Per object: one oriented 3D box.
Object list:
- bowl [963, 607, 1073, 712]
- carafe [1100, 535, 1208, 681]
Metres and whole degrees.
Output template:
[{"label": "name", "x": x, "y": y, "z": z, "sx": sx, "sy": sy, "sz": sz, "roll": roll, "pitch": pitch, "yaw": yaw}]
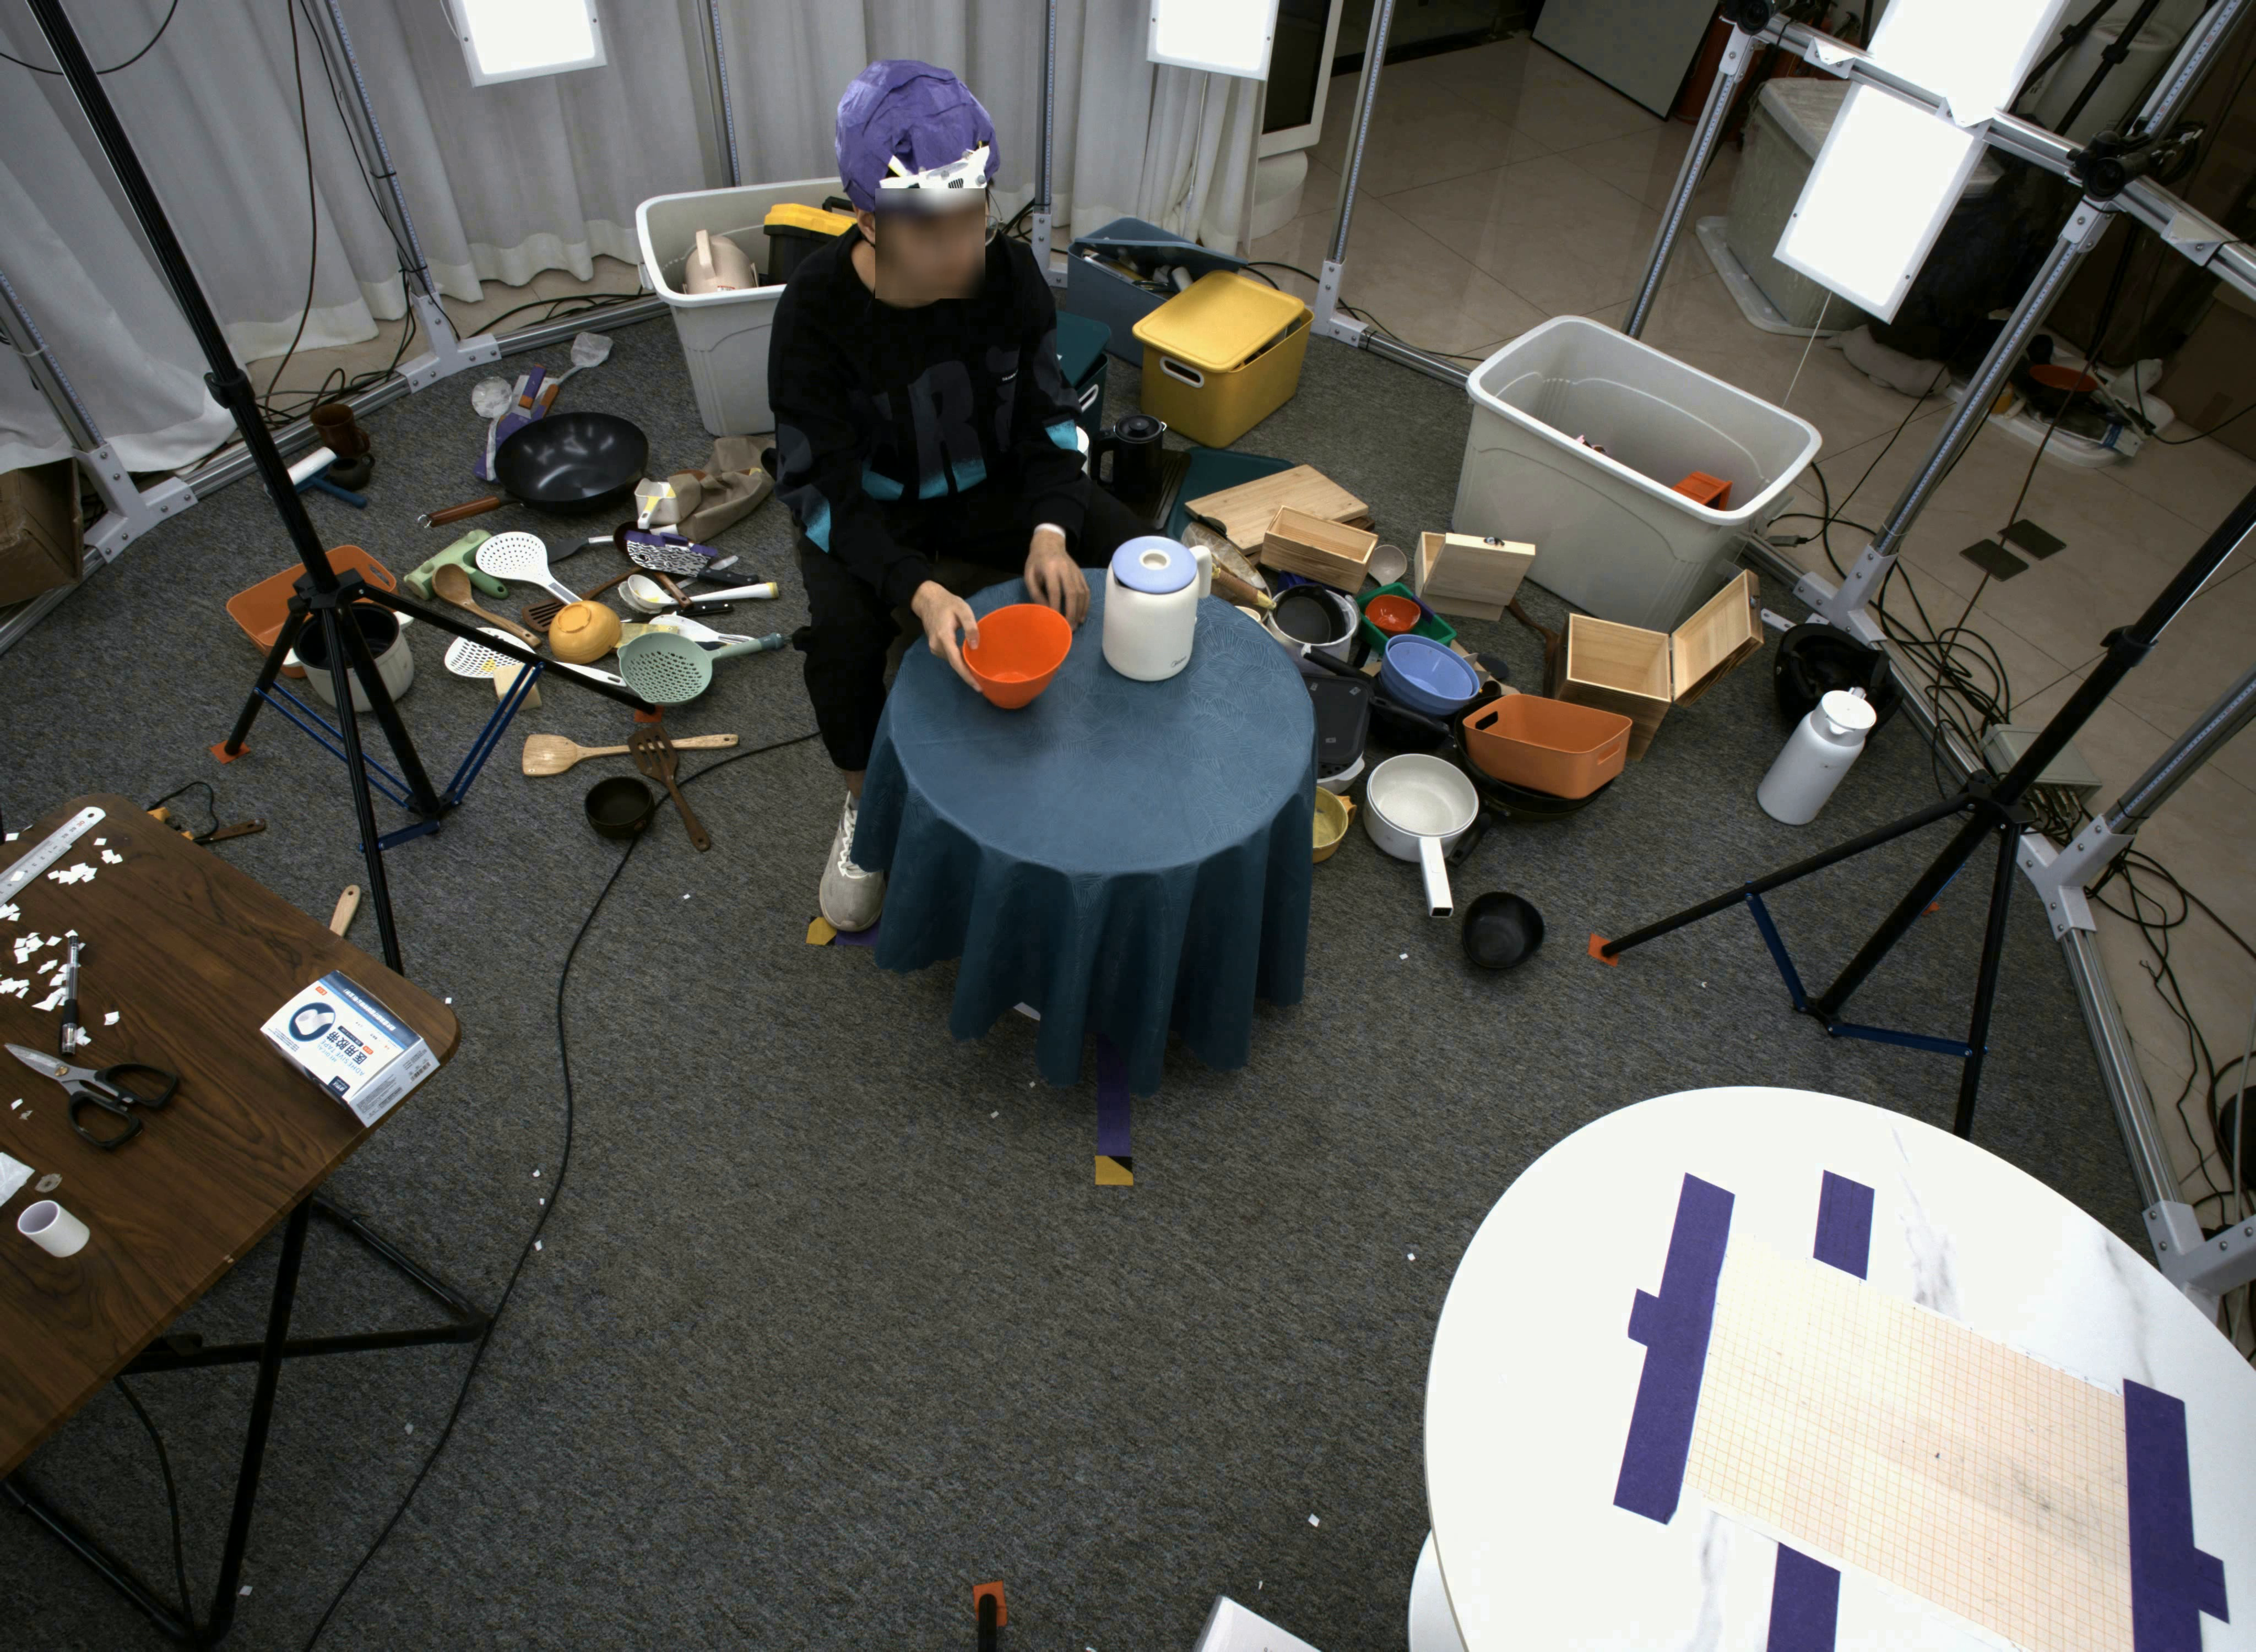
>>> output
[{"label": "bowl", "x": -0.152, "y": -0.220, "z": 1.774, "sx": 0.148, "sy": 0.102, "sz": 0.152, "roll": 2, "pitch": 49, "yaw": -3}, {"label": "carafe", "x": 0.047, "y": -0.322, "z": 1.840, "sx": 0.193, "sy": 0.178, "sz": 0.134, "roll": -34, "pitch": 61, "yaw": -31}]
